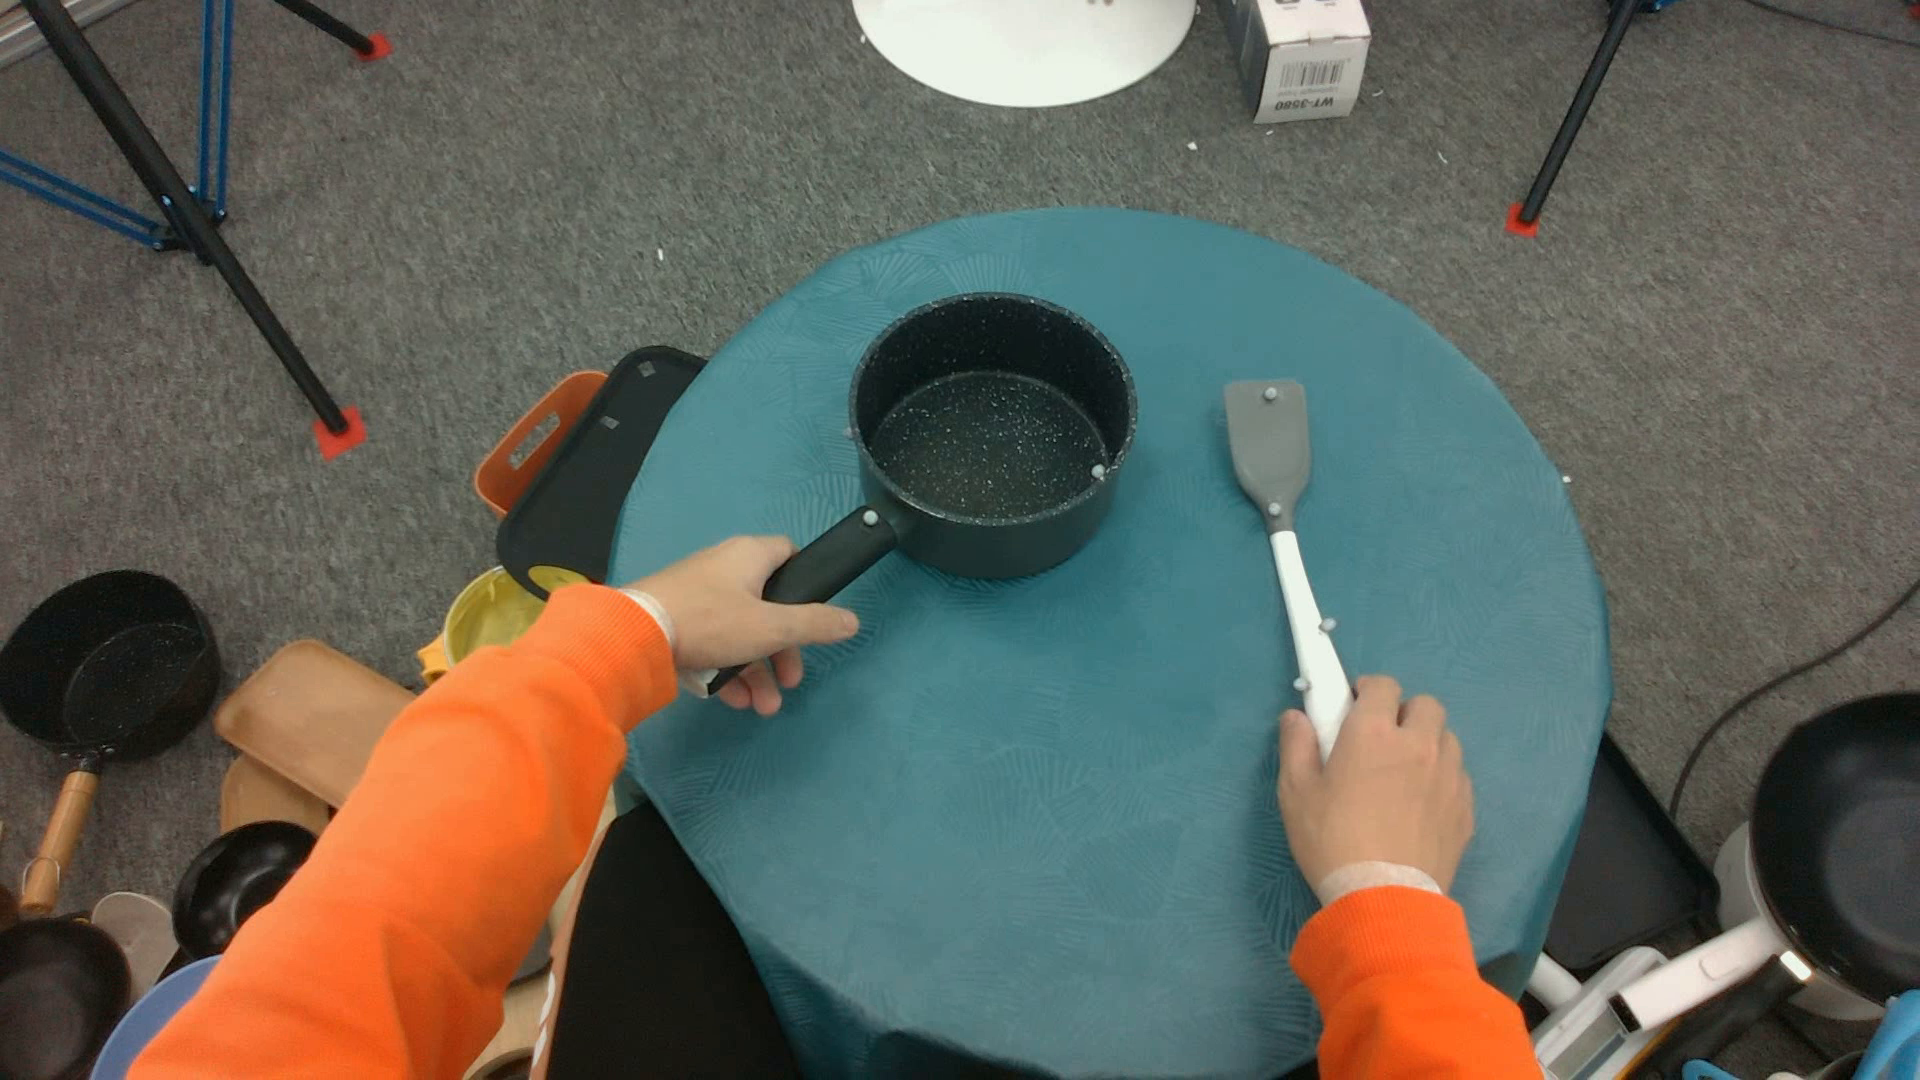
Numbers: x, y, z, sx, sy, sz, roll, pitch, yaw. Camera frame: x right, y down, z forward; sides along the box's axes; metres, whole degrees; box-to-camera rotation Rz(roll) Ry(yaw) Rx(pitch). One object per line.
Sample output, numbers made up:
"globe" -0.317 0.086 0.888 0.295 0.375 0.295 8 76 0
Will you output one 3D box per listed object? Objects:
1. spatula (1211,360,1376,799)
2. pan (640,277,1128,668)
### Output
"spatula" 0.198 0.012 0.820 0.058 0.032 0.288 -6 59 0
"pan" -0.043 -0.023 0.803 0.172 0.086 0.330 39 64 21
